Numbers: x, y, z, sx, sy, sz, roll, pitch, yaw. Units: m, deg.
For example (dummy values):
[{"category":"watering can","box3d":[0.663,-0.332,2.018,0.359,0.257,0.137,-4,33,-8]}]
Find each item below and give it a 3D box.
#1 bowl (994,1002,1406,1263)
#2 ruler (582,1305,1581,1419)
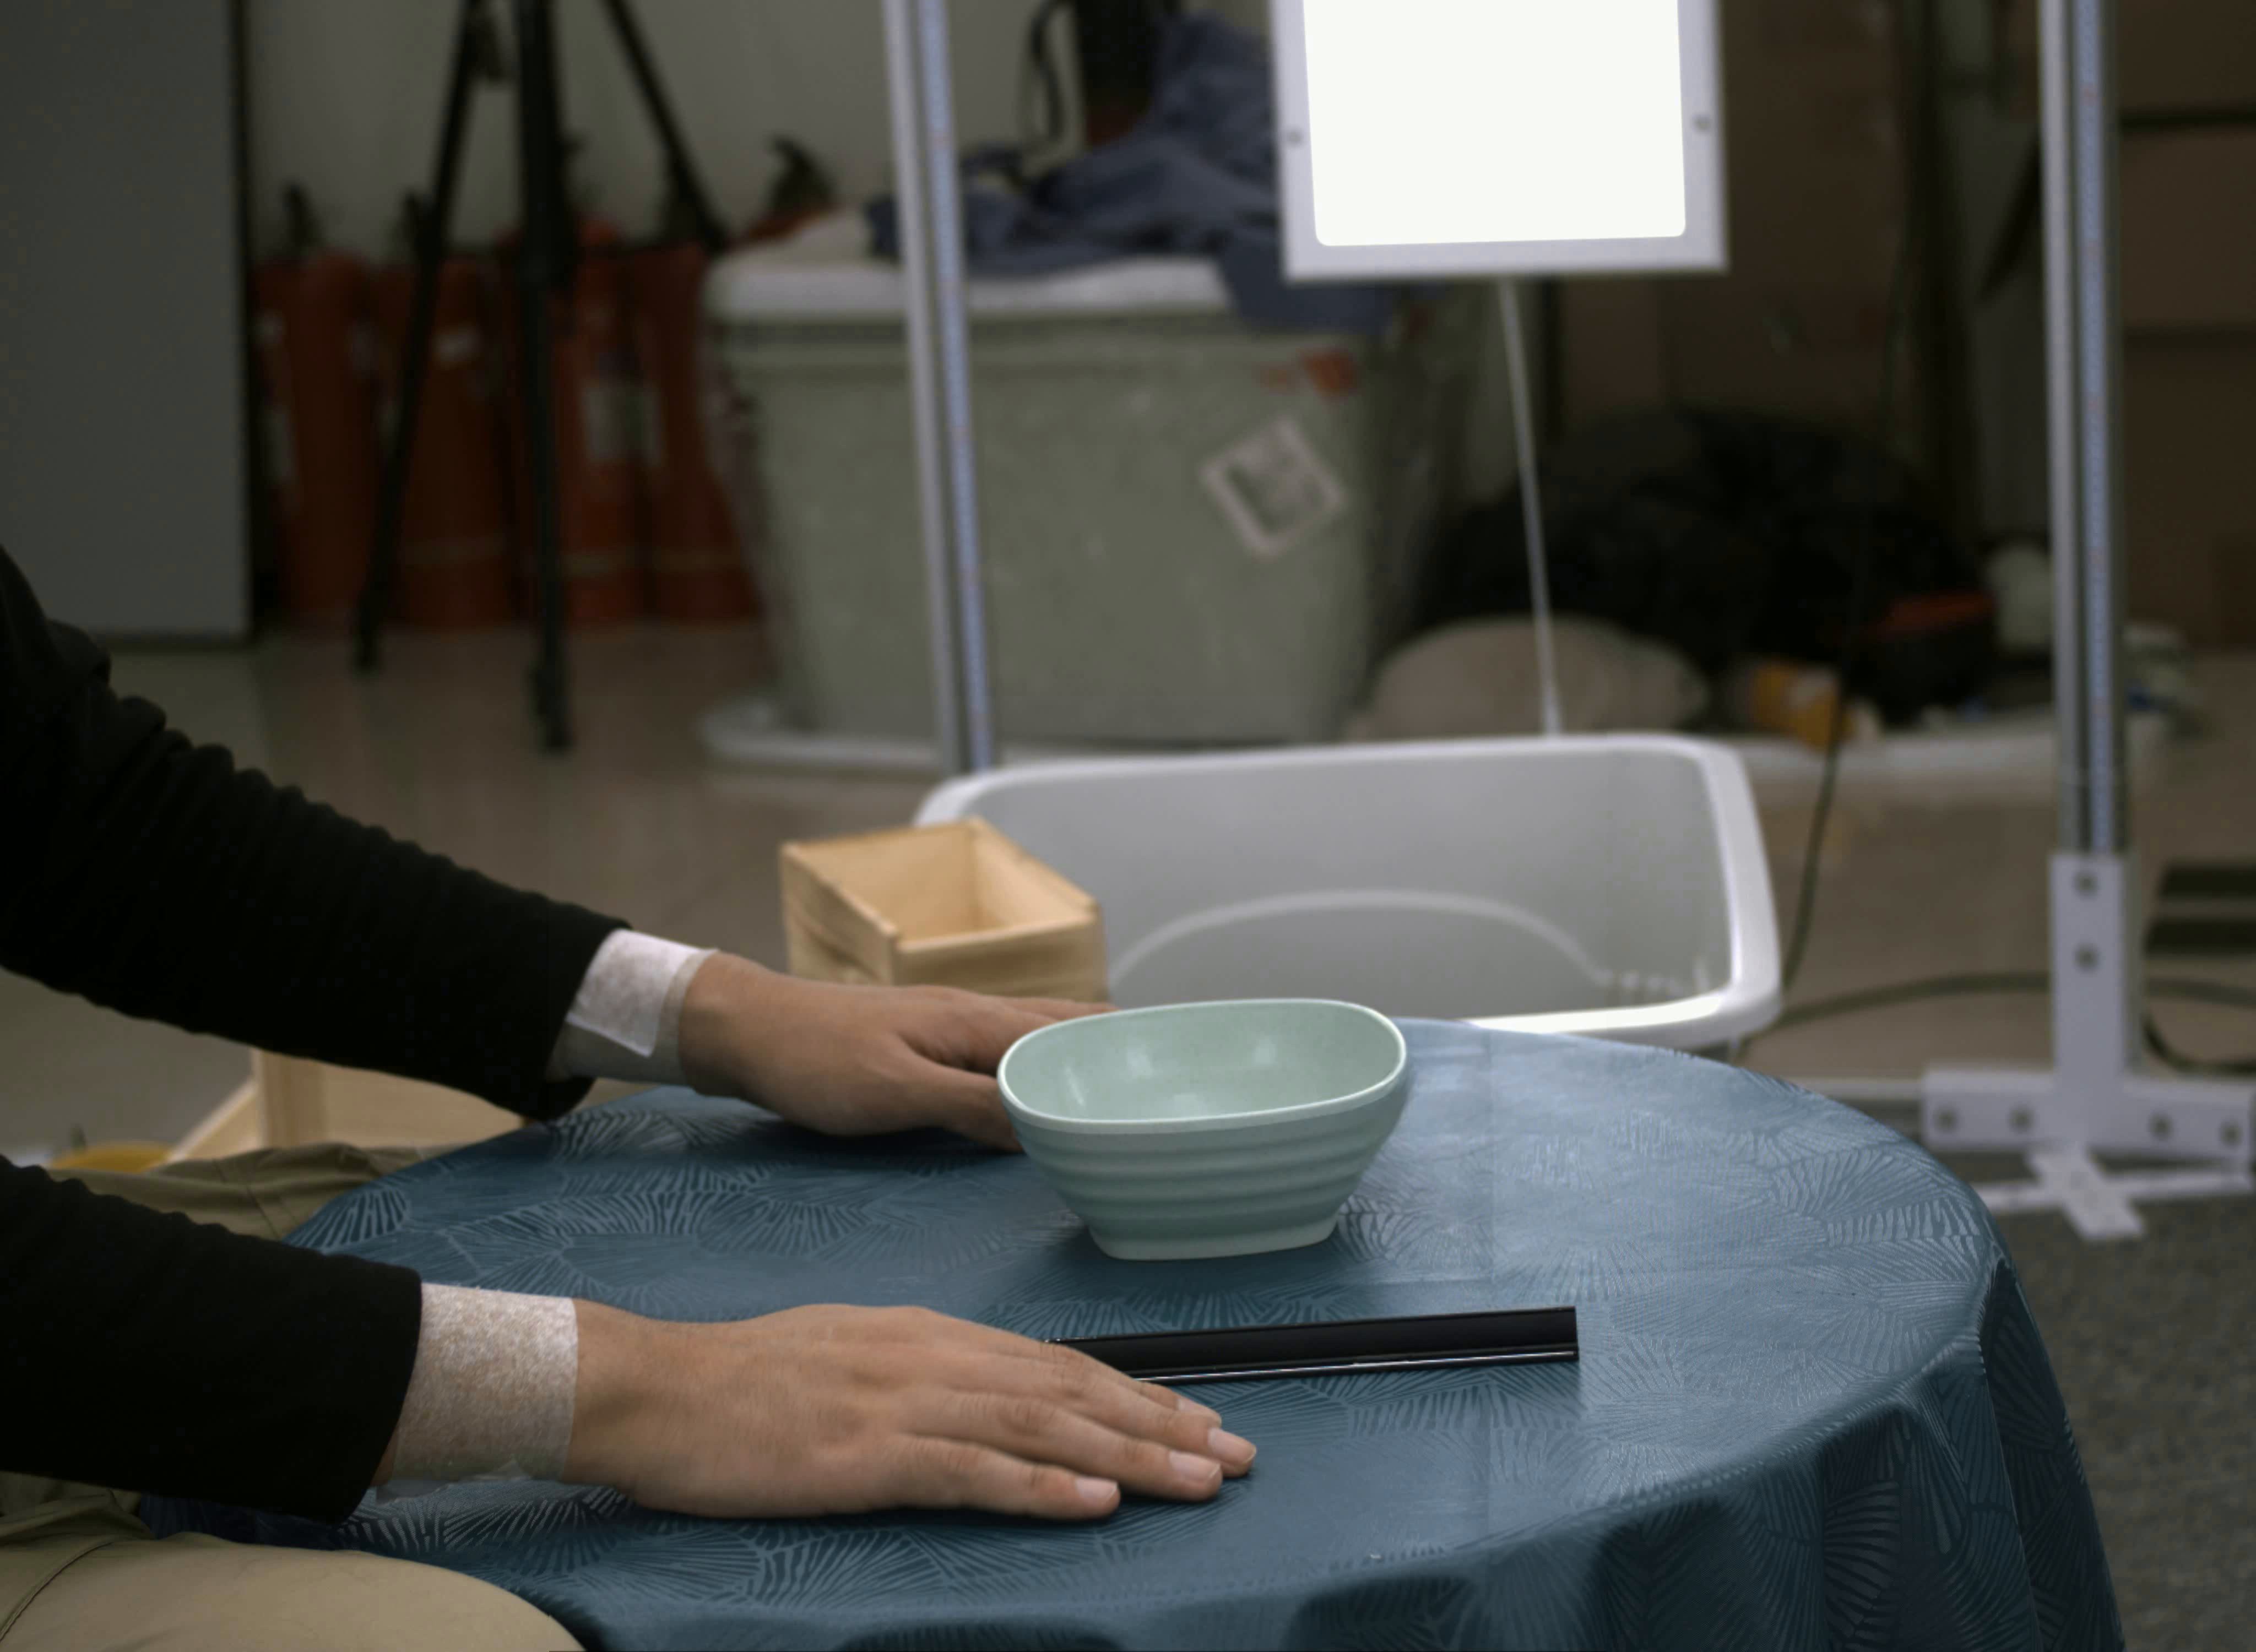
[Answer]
[{"category":"bowl","box3d":[0.025,0.106,1.855,0.151,0.059,0.151,-3,14,-1]},{"category":"ruler","box3d":[-0.015,0.163,1.722,0.313,0.017,0.039,-4,10,5]}]
